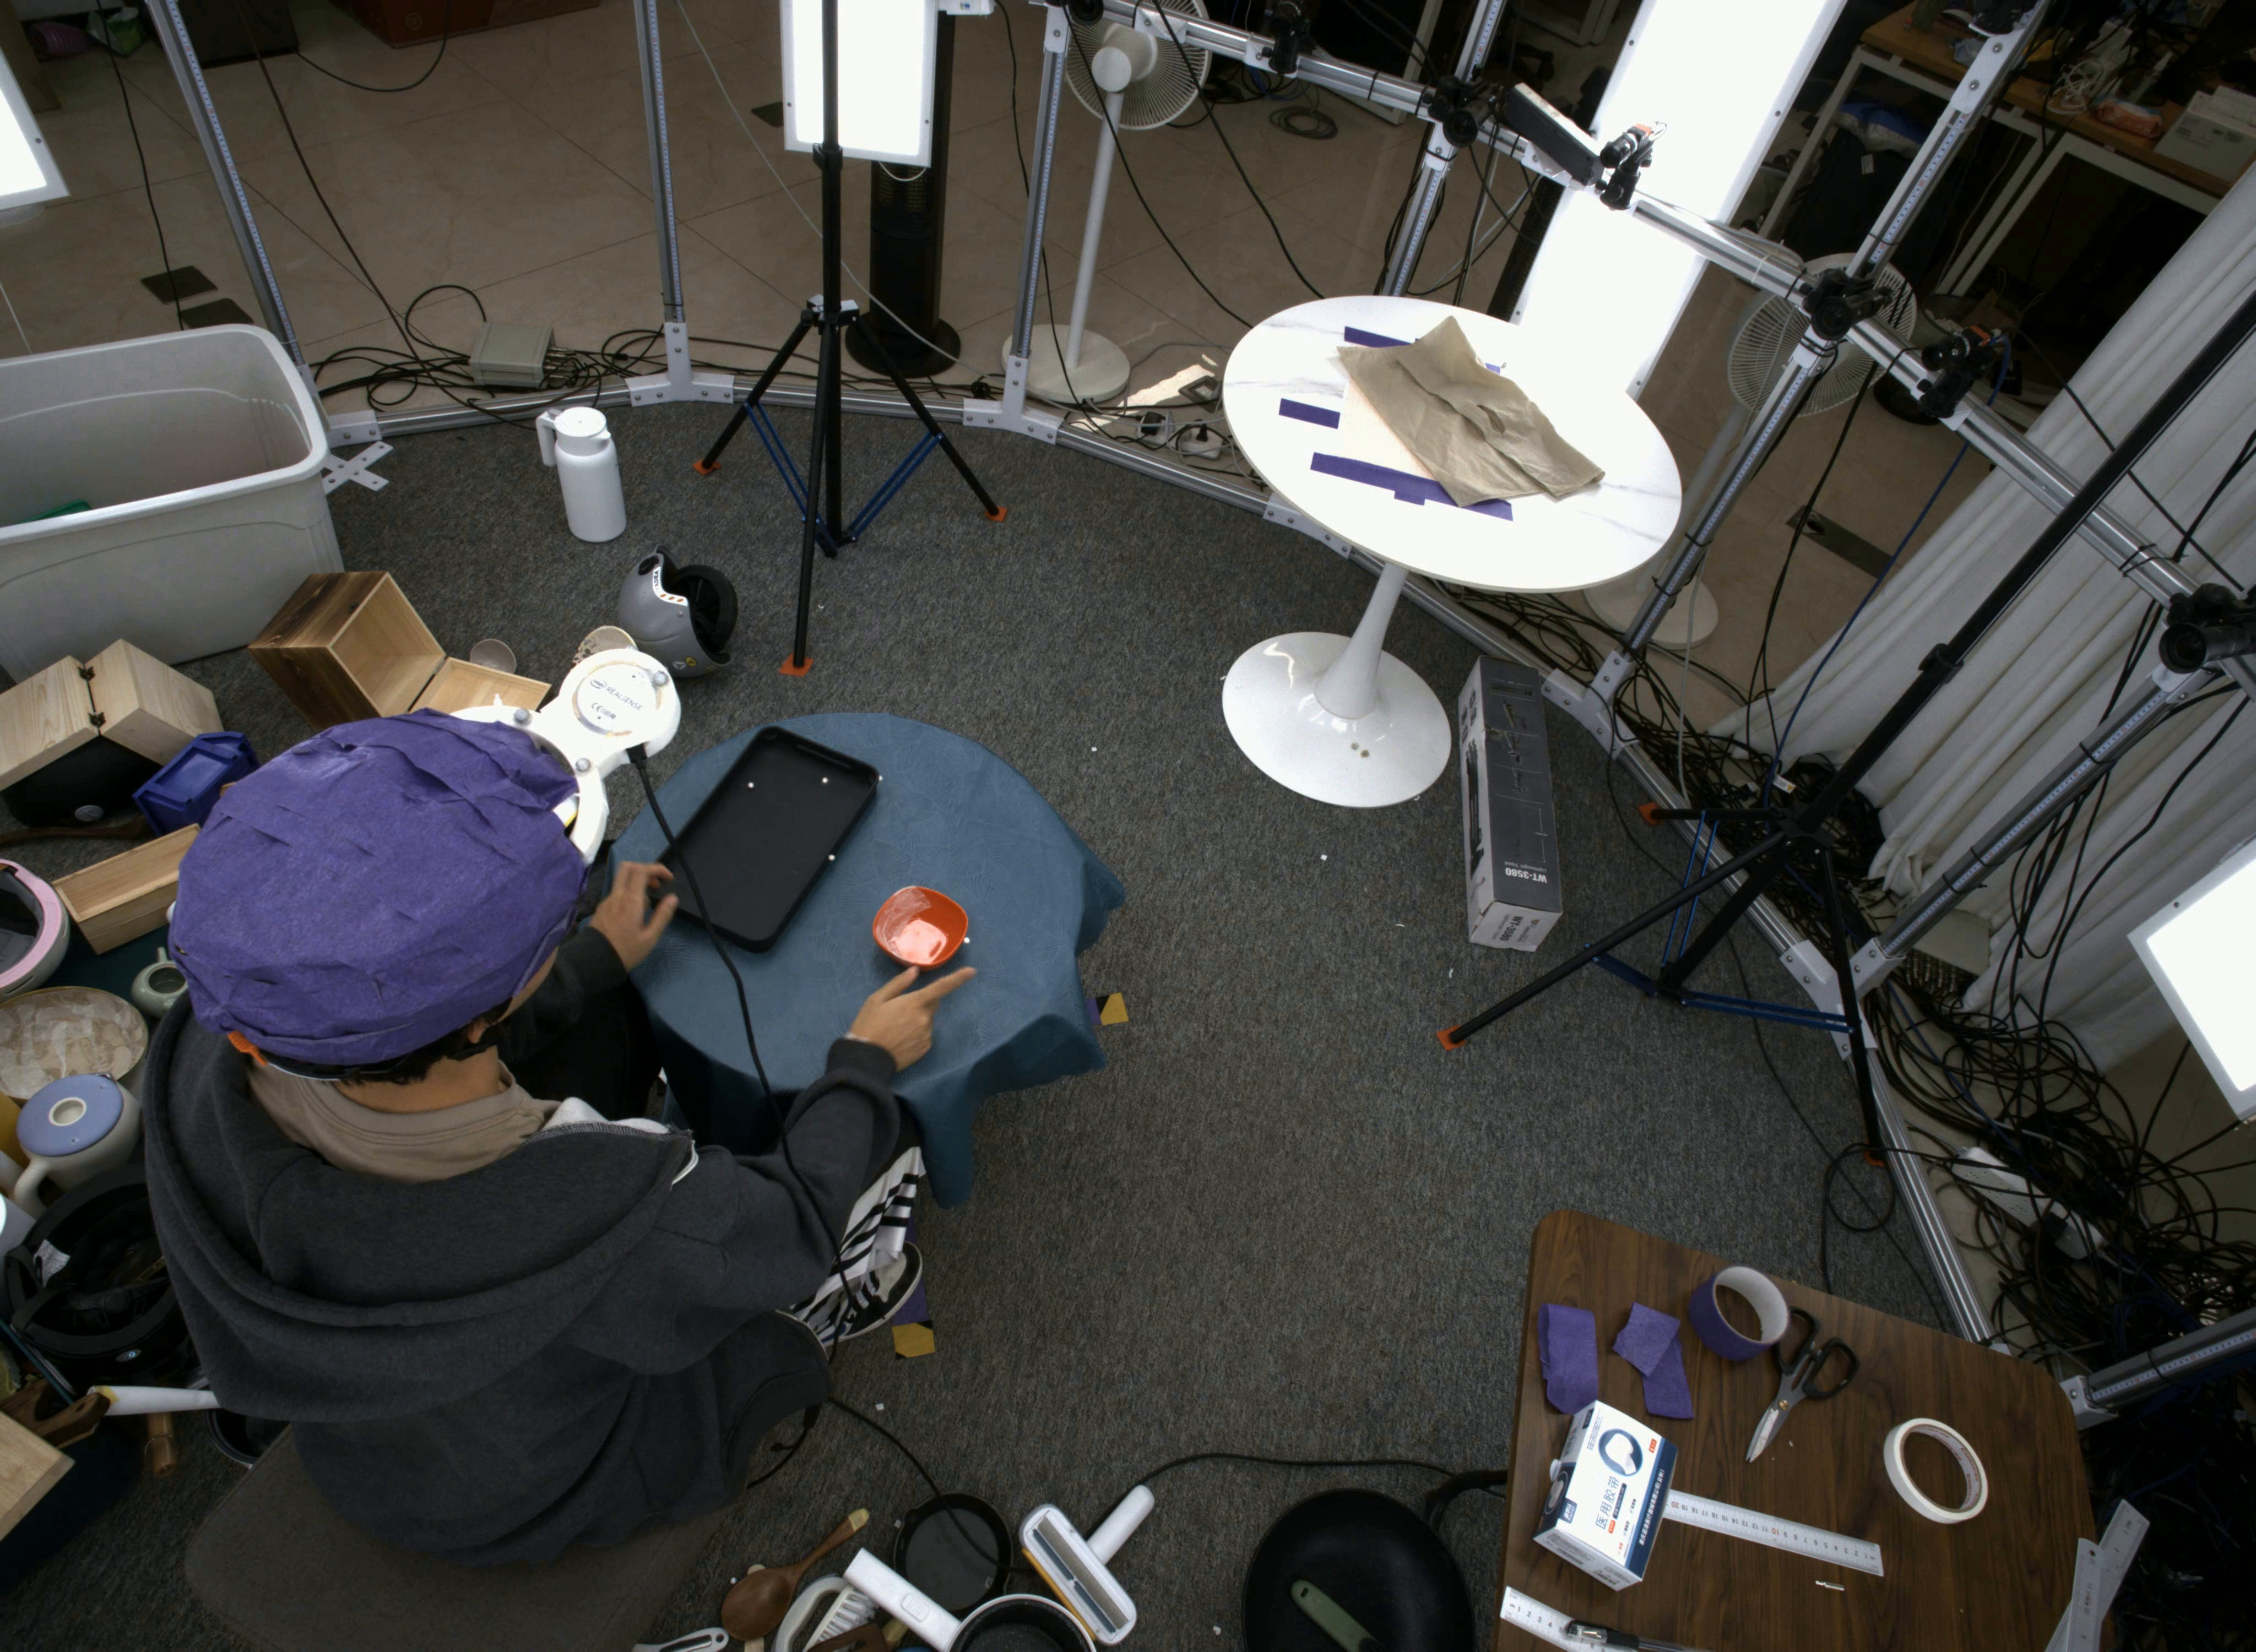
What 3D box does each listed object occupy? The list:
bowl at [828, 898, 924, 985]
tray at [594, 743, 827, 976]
[{"bbox_3d":[-0.312,0.150,1.611,0.119,0.052,0.117,9,51,-9],"label":"bowl"},{"bbox_3d":[-0.529,0.034,1.650,0.182,0.038,0.315,20,51,2],"label":"tray"}]
